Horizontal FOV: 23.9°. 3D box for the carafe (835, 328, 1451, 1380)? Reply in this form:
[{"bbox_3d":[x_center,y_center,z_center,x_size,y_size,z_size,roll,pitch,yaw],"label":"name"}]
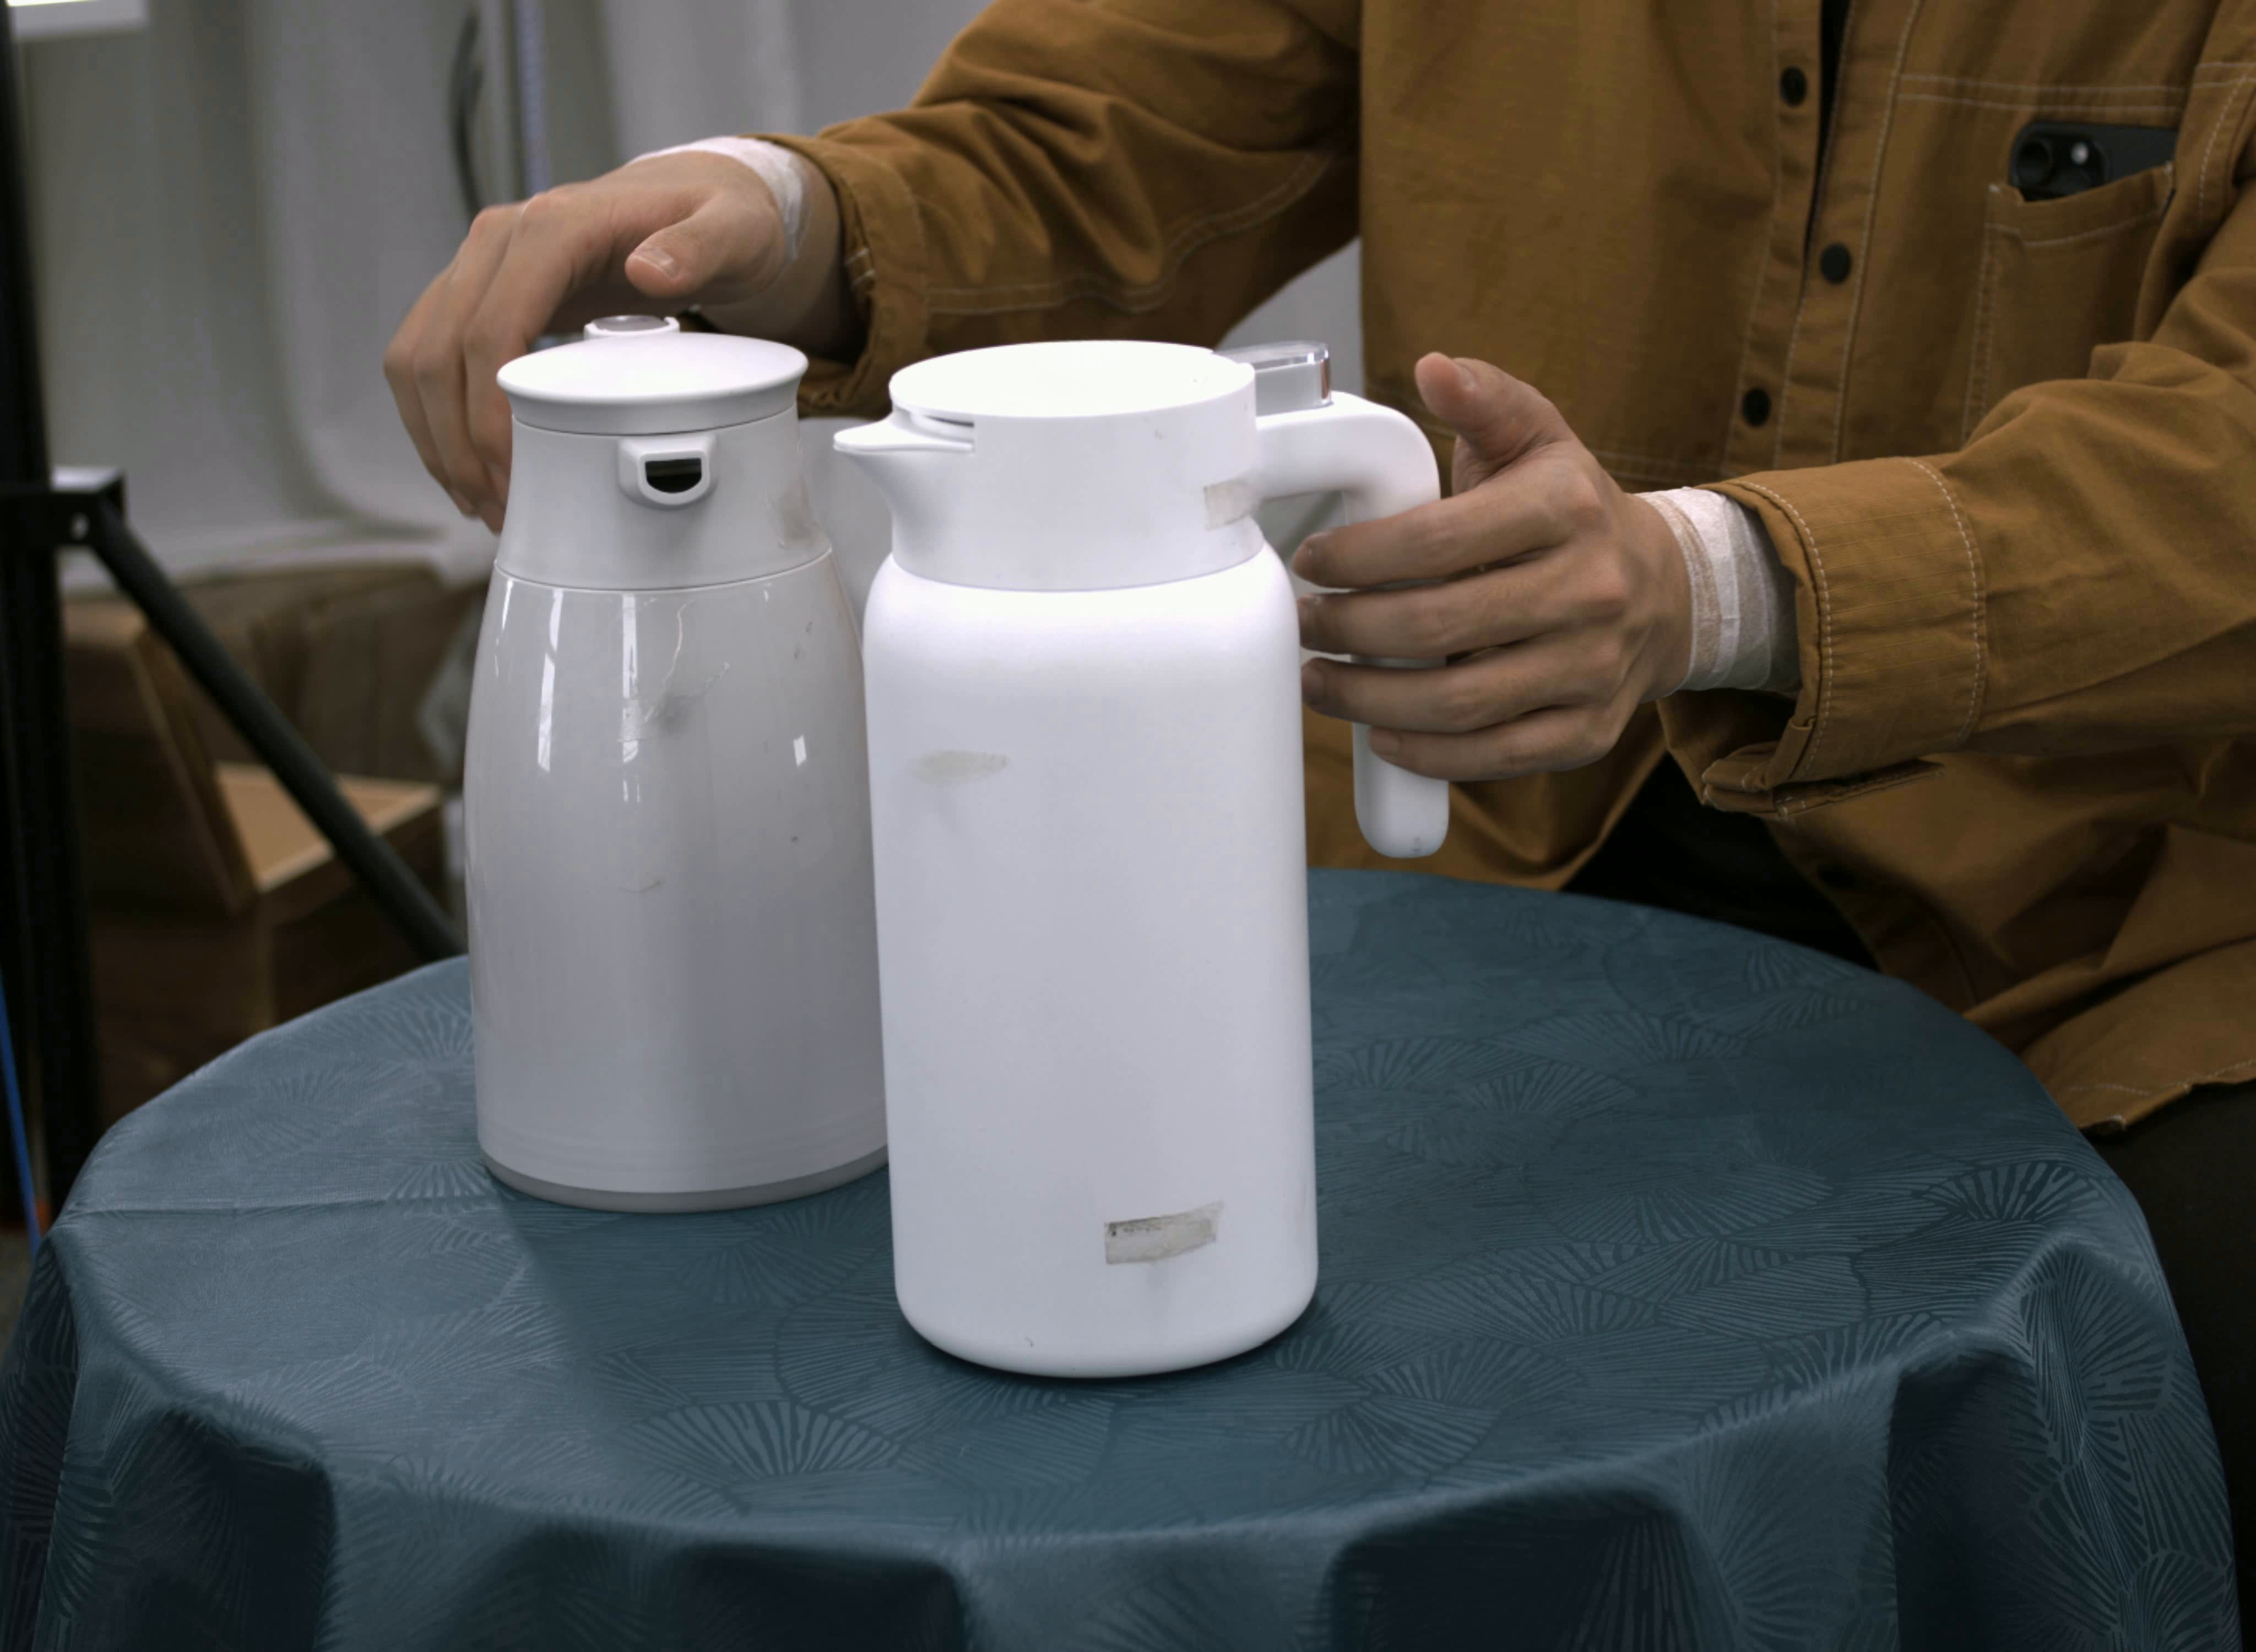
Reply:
[{"bbox_3d":[0.006,0.004,1.434,0.169,0.269,0.126,-9,14,-24],"label":"carafe"}]

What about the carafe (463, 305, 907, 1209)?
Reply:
[{"bbox_3d":[-0.139,-0.029,1.606,0.131,0.249,0.169,-4,14,-8],"label":"carafe"}]
